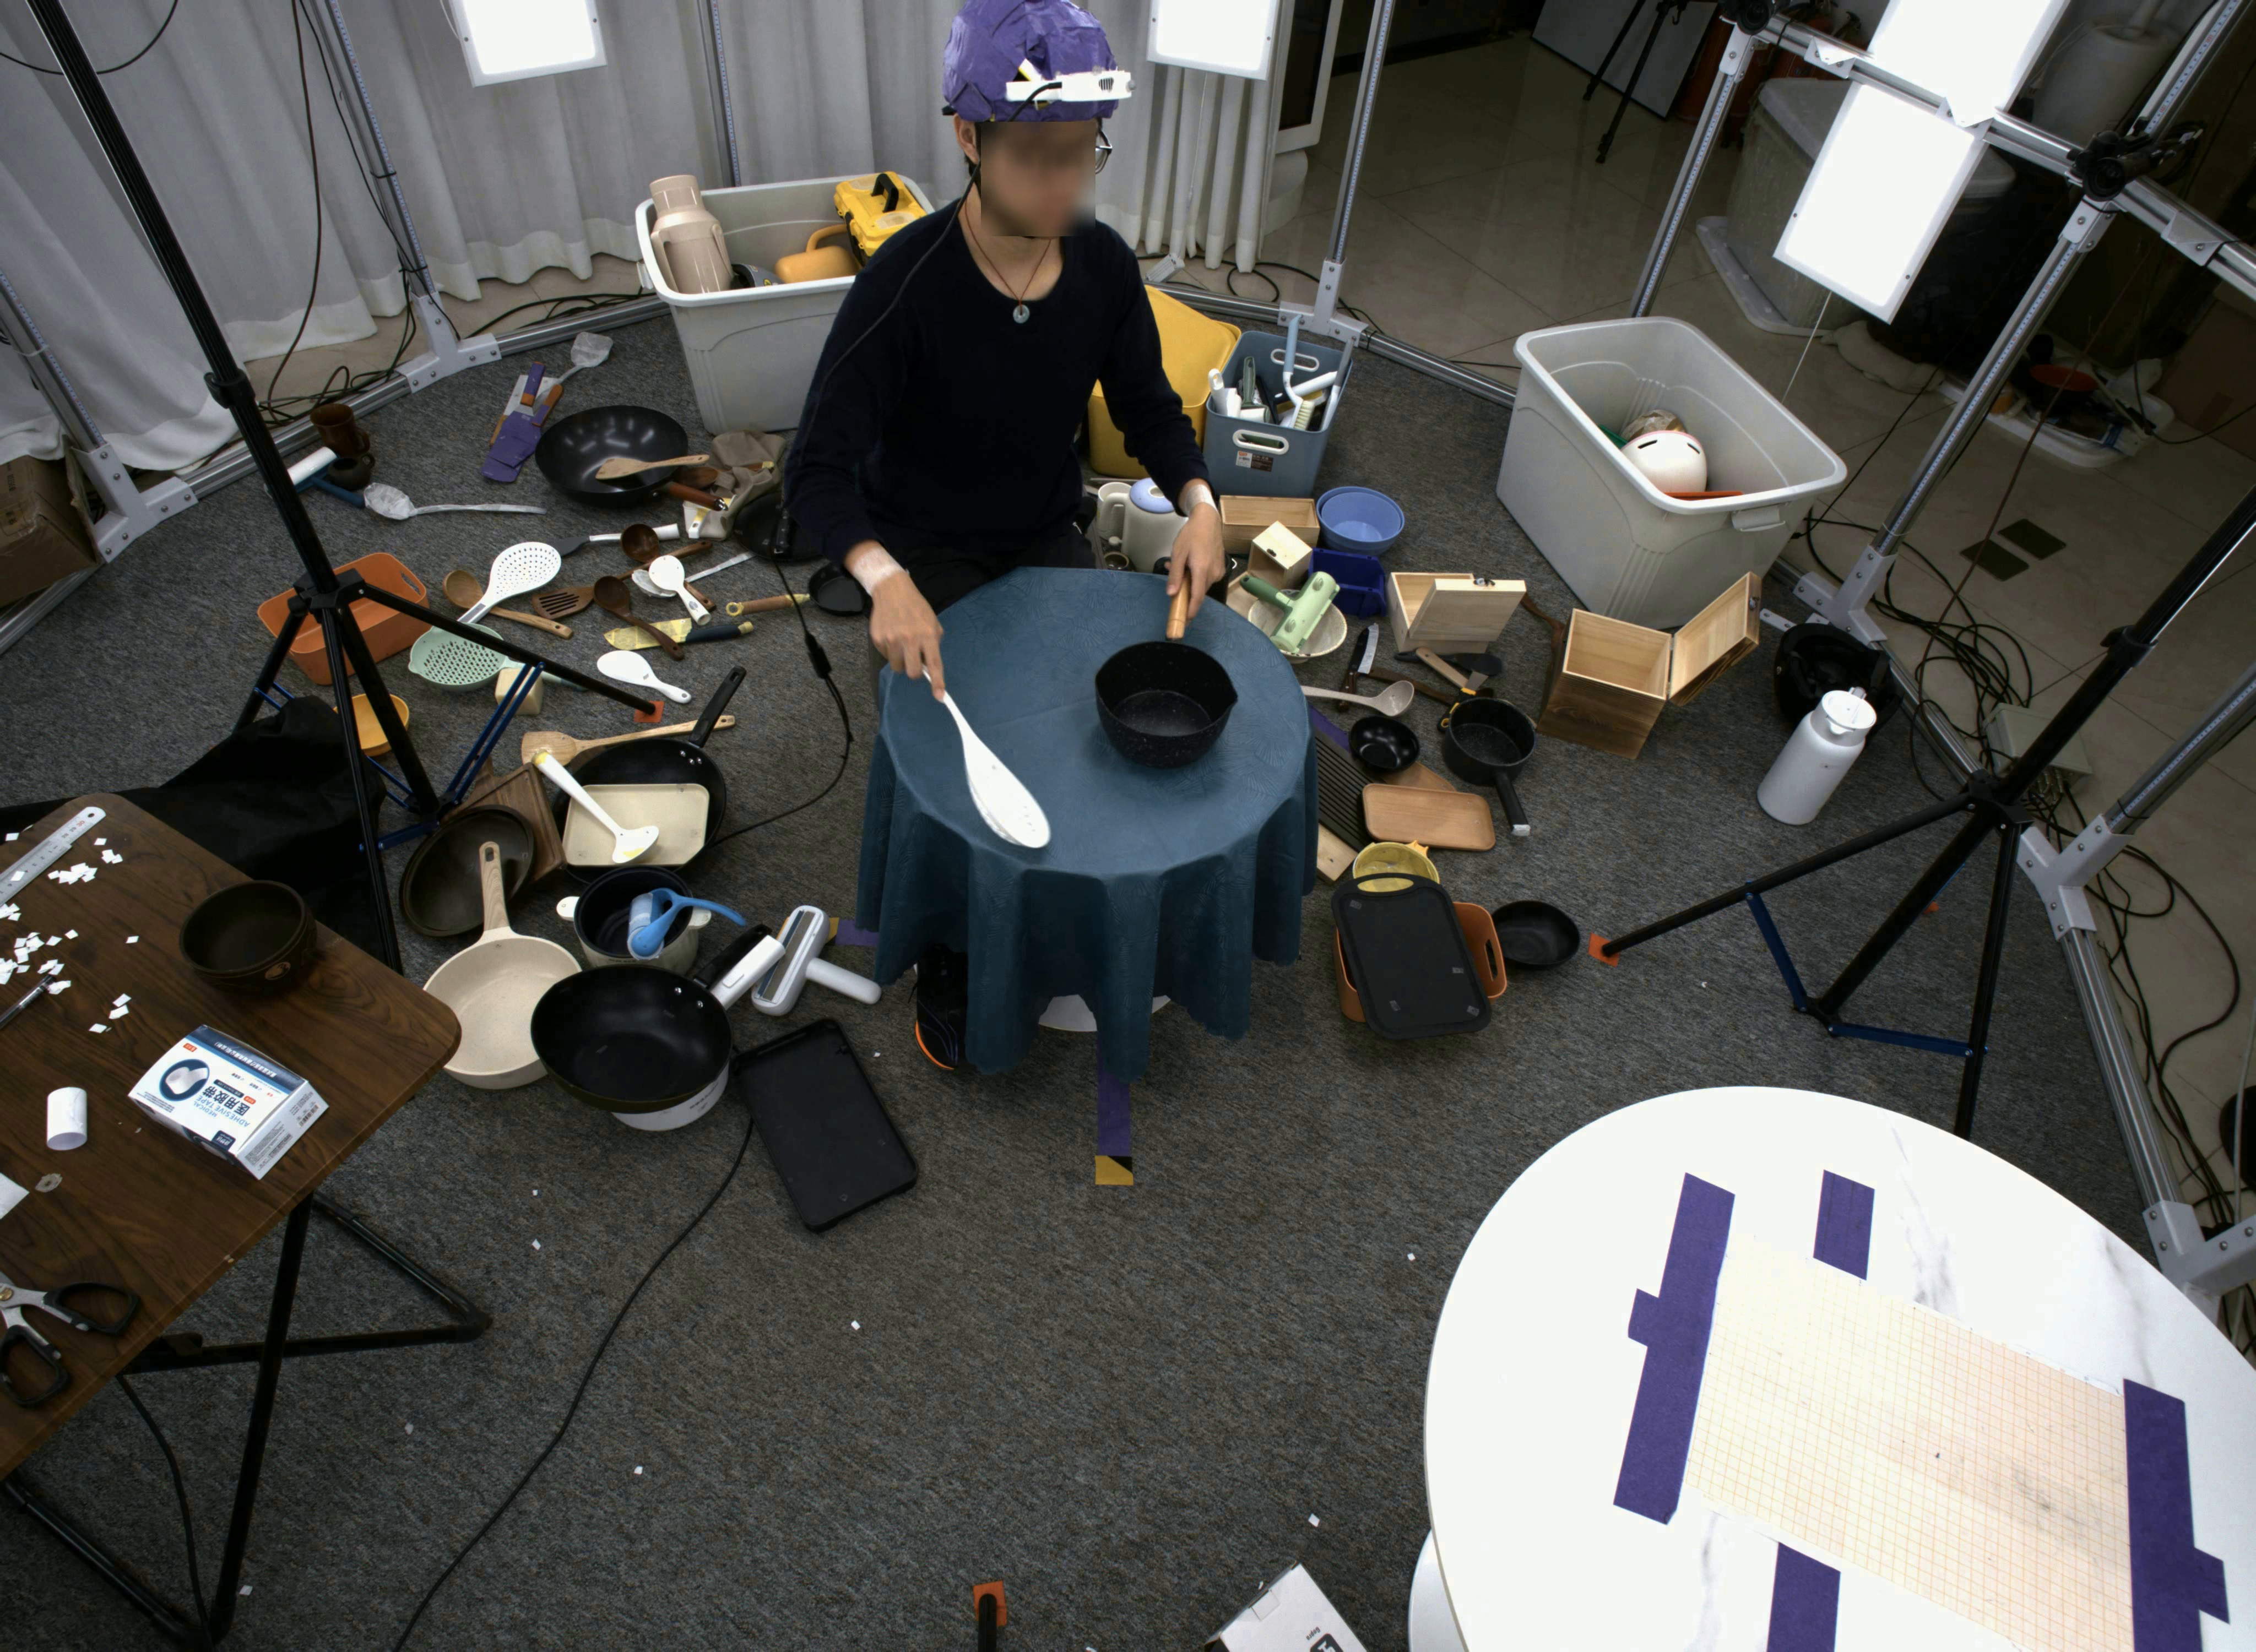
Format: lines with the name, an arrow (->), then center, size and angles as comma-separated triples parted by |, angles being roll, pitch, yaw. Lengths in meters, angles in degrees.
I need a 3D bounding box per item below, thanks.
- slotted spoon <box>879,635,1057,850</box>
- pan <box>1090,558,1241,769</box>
slotted spoon -> -0.208, -0.109, 1.625 | 0.351, 0.050, 0.136 | 59, 23, 10
pan -> 0.058, -0.229, 1.802 | 0.207, 0.105, 0.351 | 7, 50, 3
